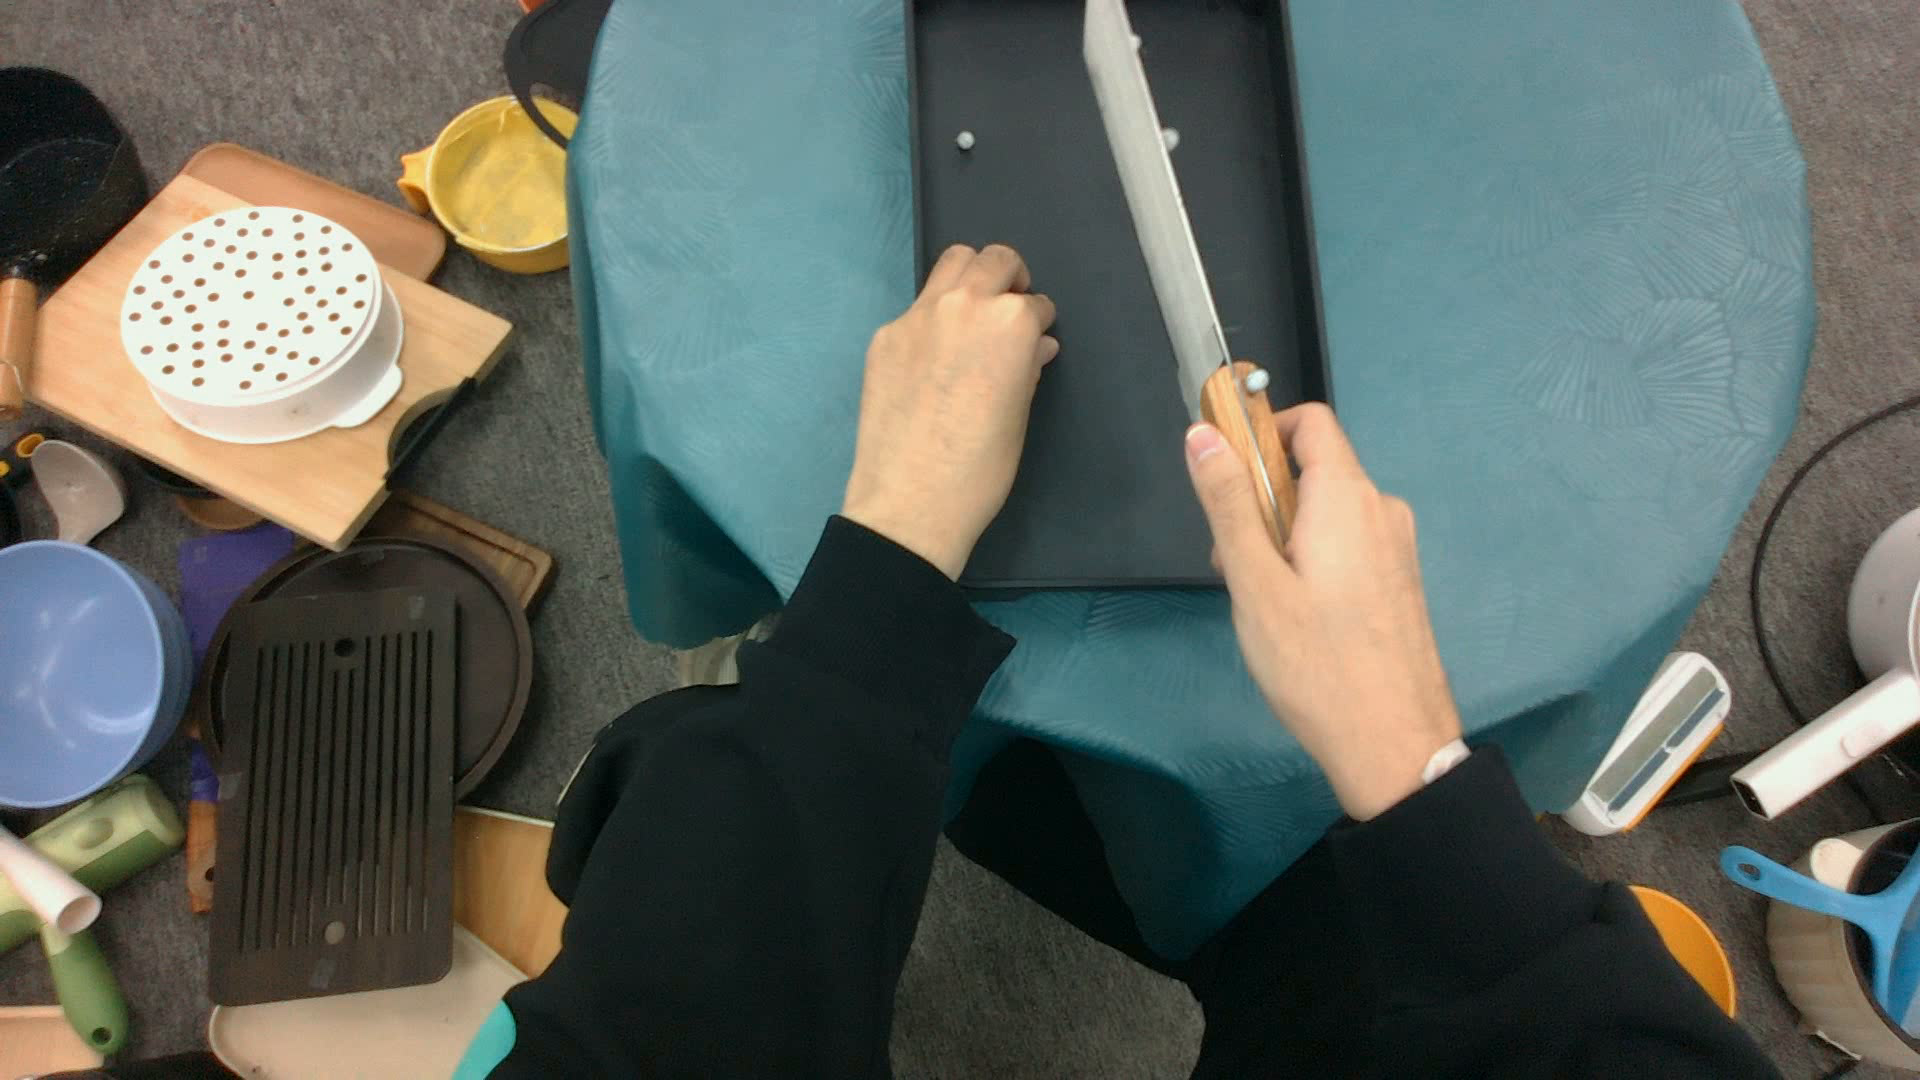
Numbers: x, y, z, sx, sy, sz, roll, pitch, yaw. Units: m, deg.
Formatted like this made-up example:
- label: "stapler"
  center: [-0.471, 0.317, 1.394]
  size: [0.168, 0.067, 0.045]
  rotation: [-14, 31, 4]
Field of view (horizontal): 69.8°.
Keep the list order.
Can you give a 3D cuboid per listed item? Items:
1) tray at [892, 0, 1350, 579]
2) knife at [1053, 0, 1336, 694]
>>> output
- label: "tray"
  center: [0.066, -0.140, 0.632]
  size: [0.184, 0.037, 0.318]
  rotation: [-2, 74, -4]
- label: "knife"
  center: [0.083, -0.083, 0.546]
  size: [0.021, 0.093, 0.306]
  rotation: [-16, 77, -2]
